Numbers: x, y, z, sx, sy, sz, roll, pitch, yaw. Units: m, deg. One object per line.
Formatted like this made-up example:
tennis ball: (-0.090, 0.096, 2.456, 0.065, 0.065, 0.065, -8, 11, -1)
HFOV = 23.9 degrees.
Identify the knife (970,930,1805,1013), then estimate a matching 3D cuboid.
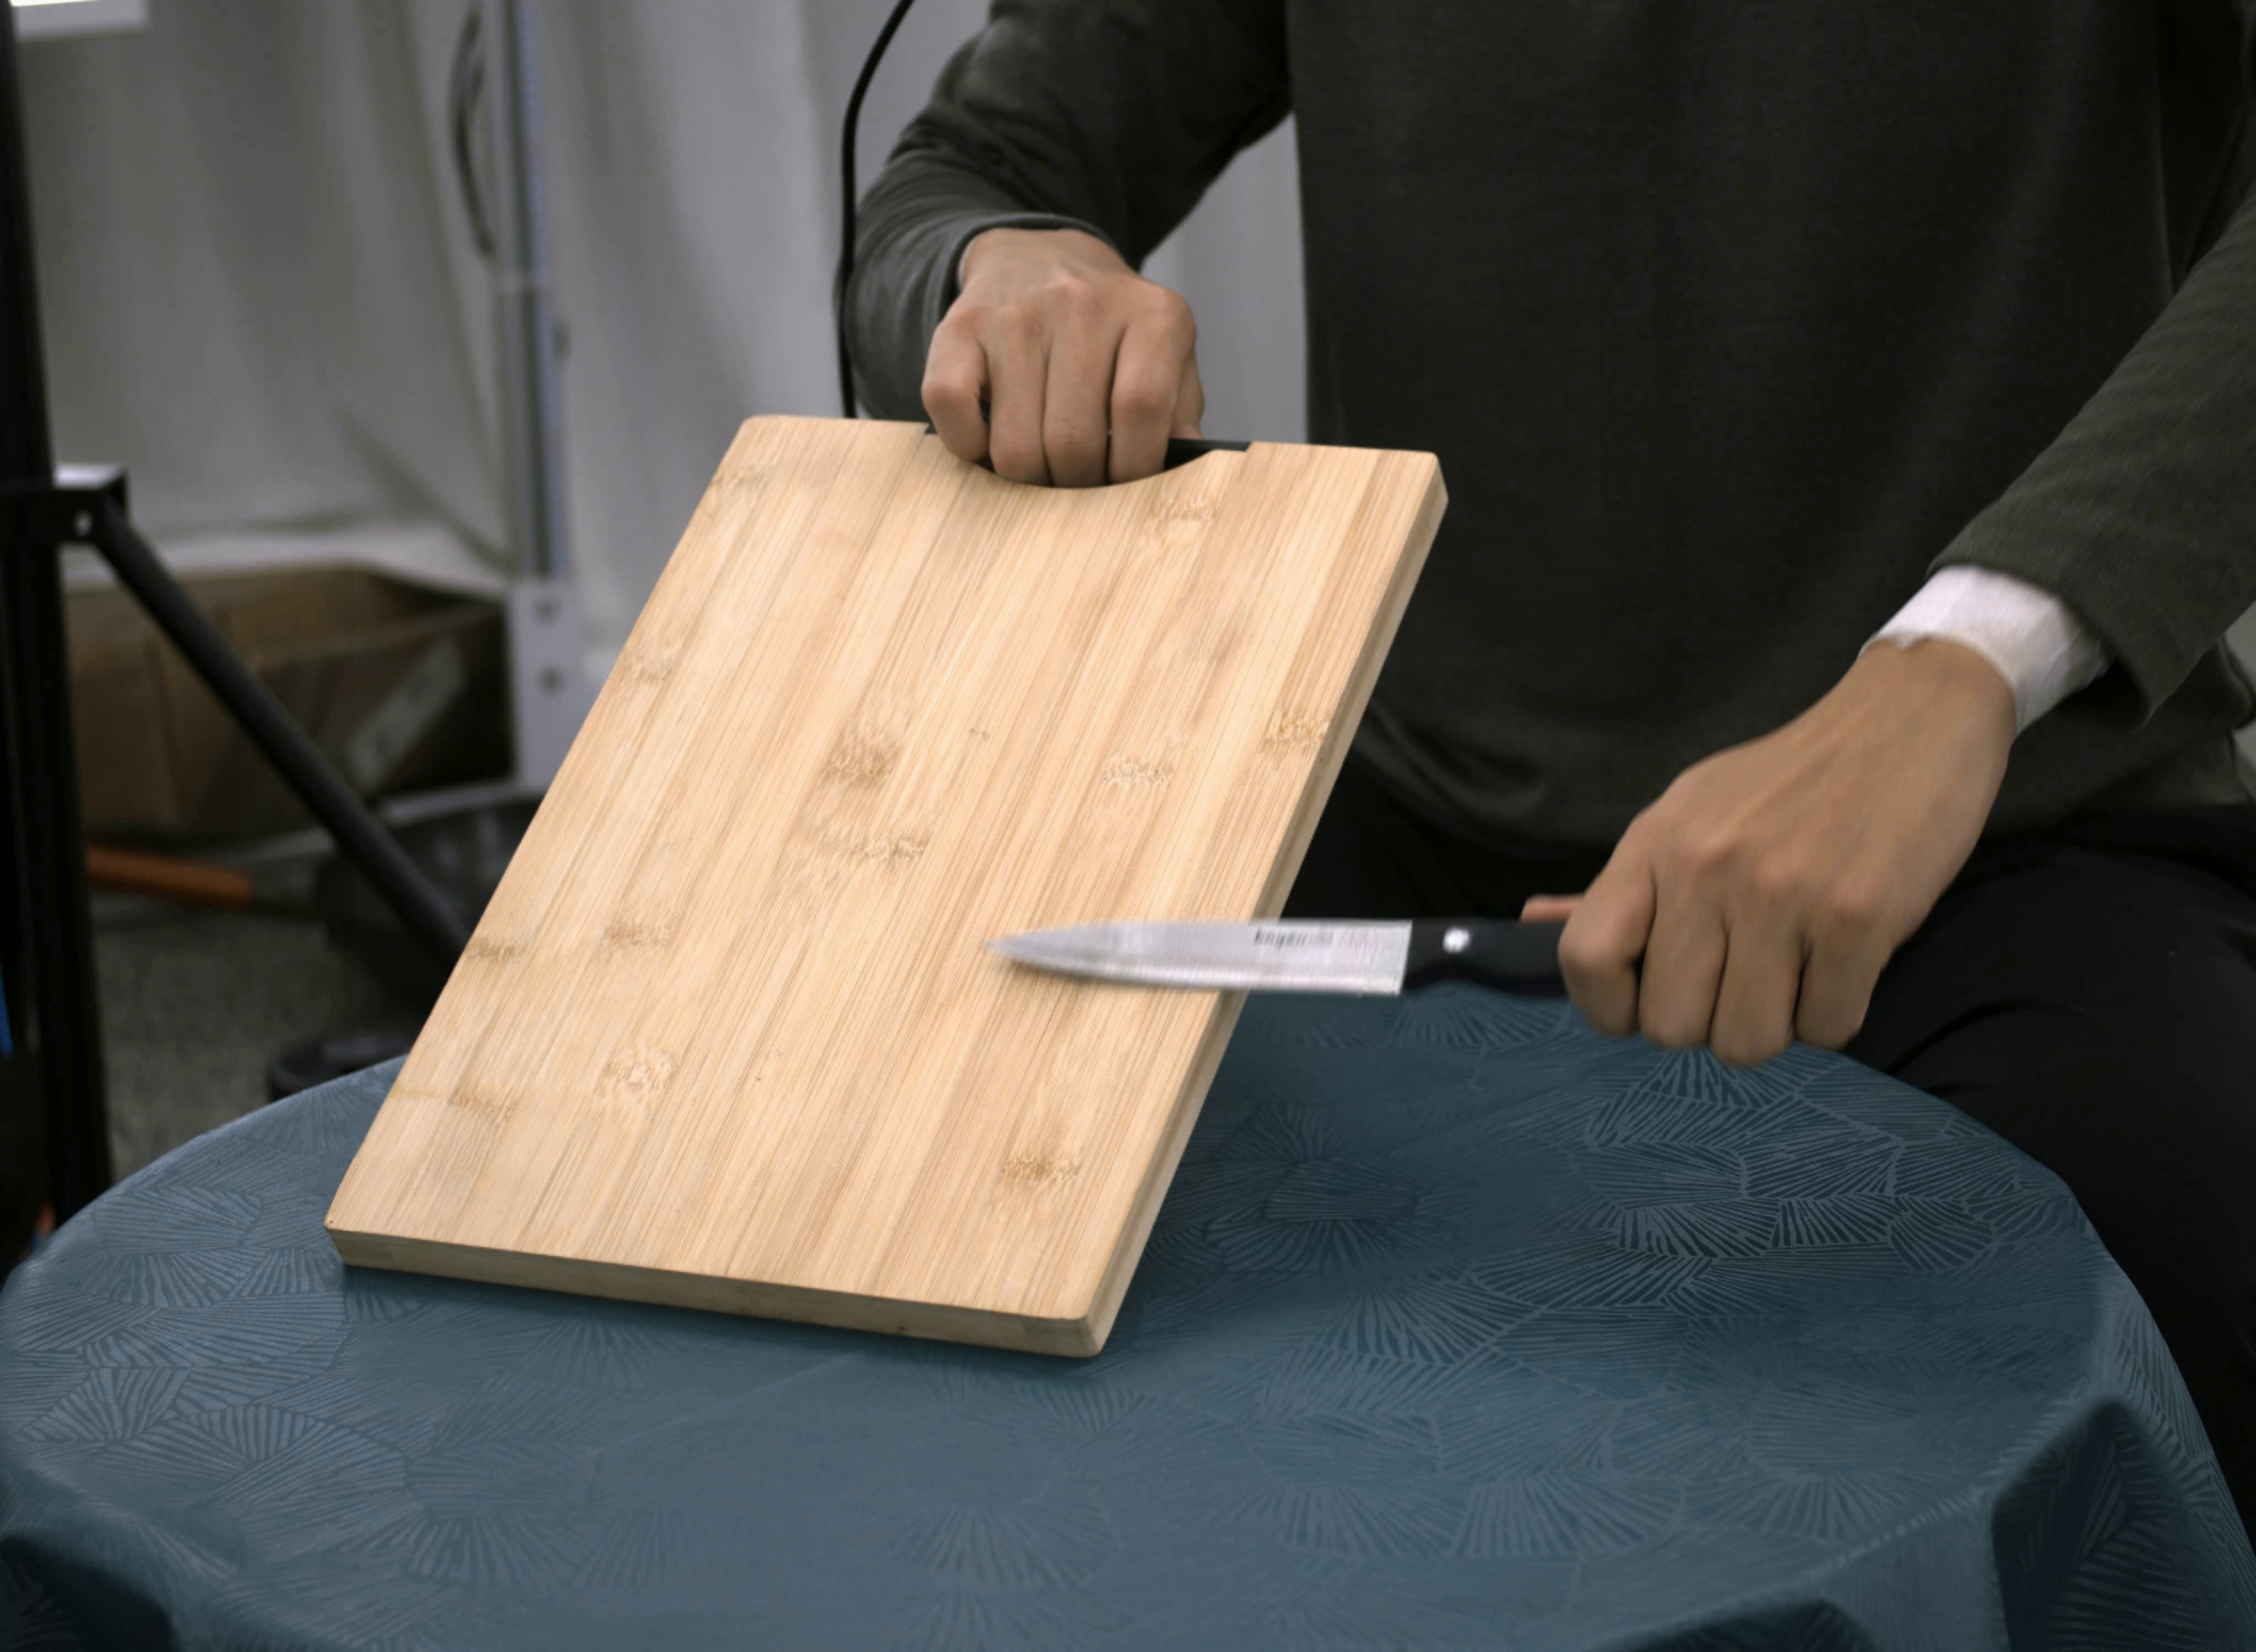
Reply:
knife: (0.071, 0.041, 1.482, 0.240, 0.016, 0.024, 0, 56, 17)

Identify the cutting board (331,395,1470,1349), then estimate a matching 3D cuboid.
cutting board: (-0.062, 0.002, 1.584, 0.254, 0.023, 0.348, 4, 49, 24)
